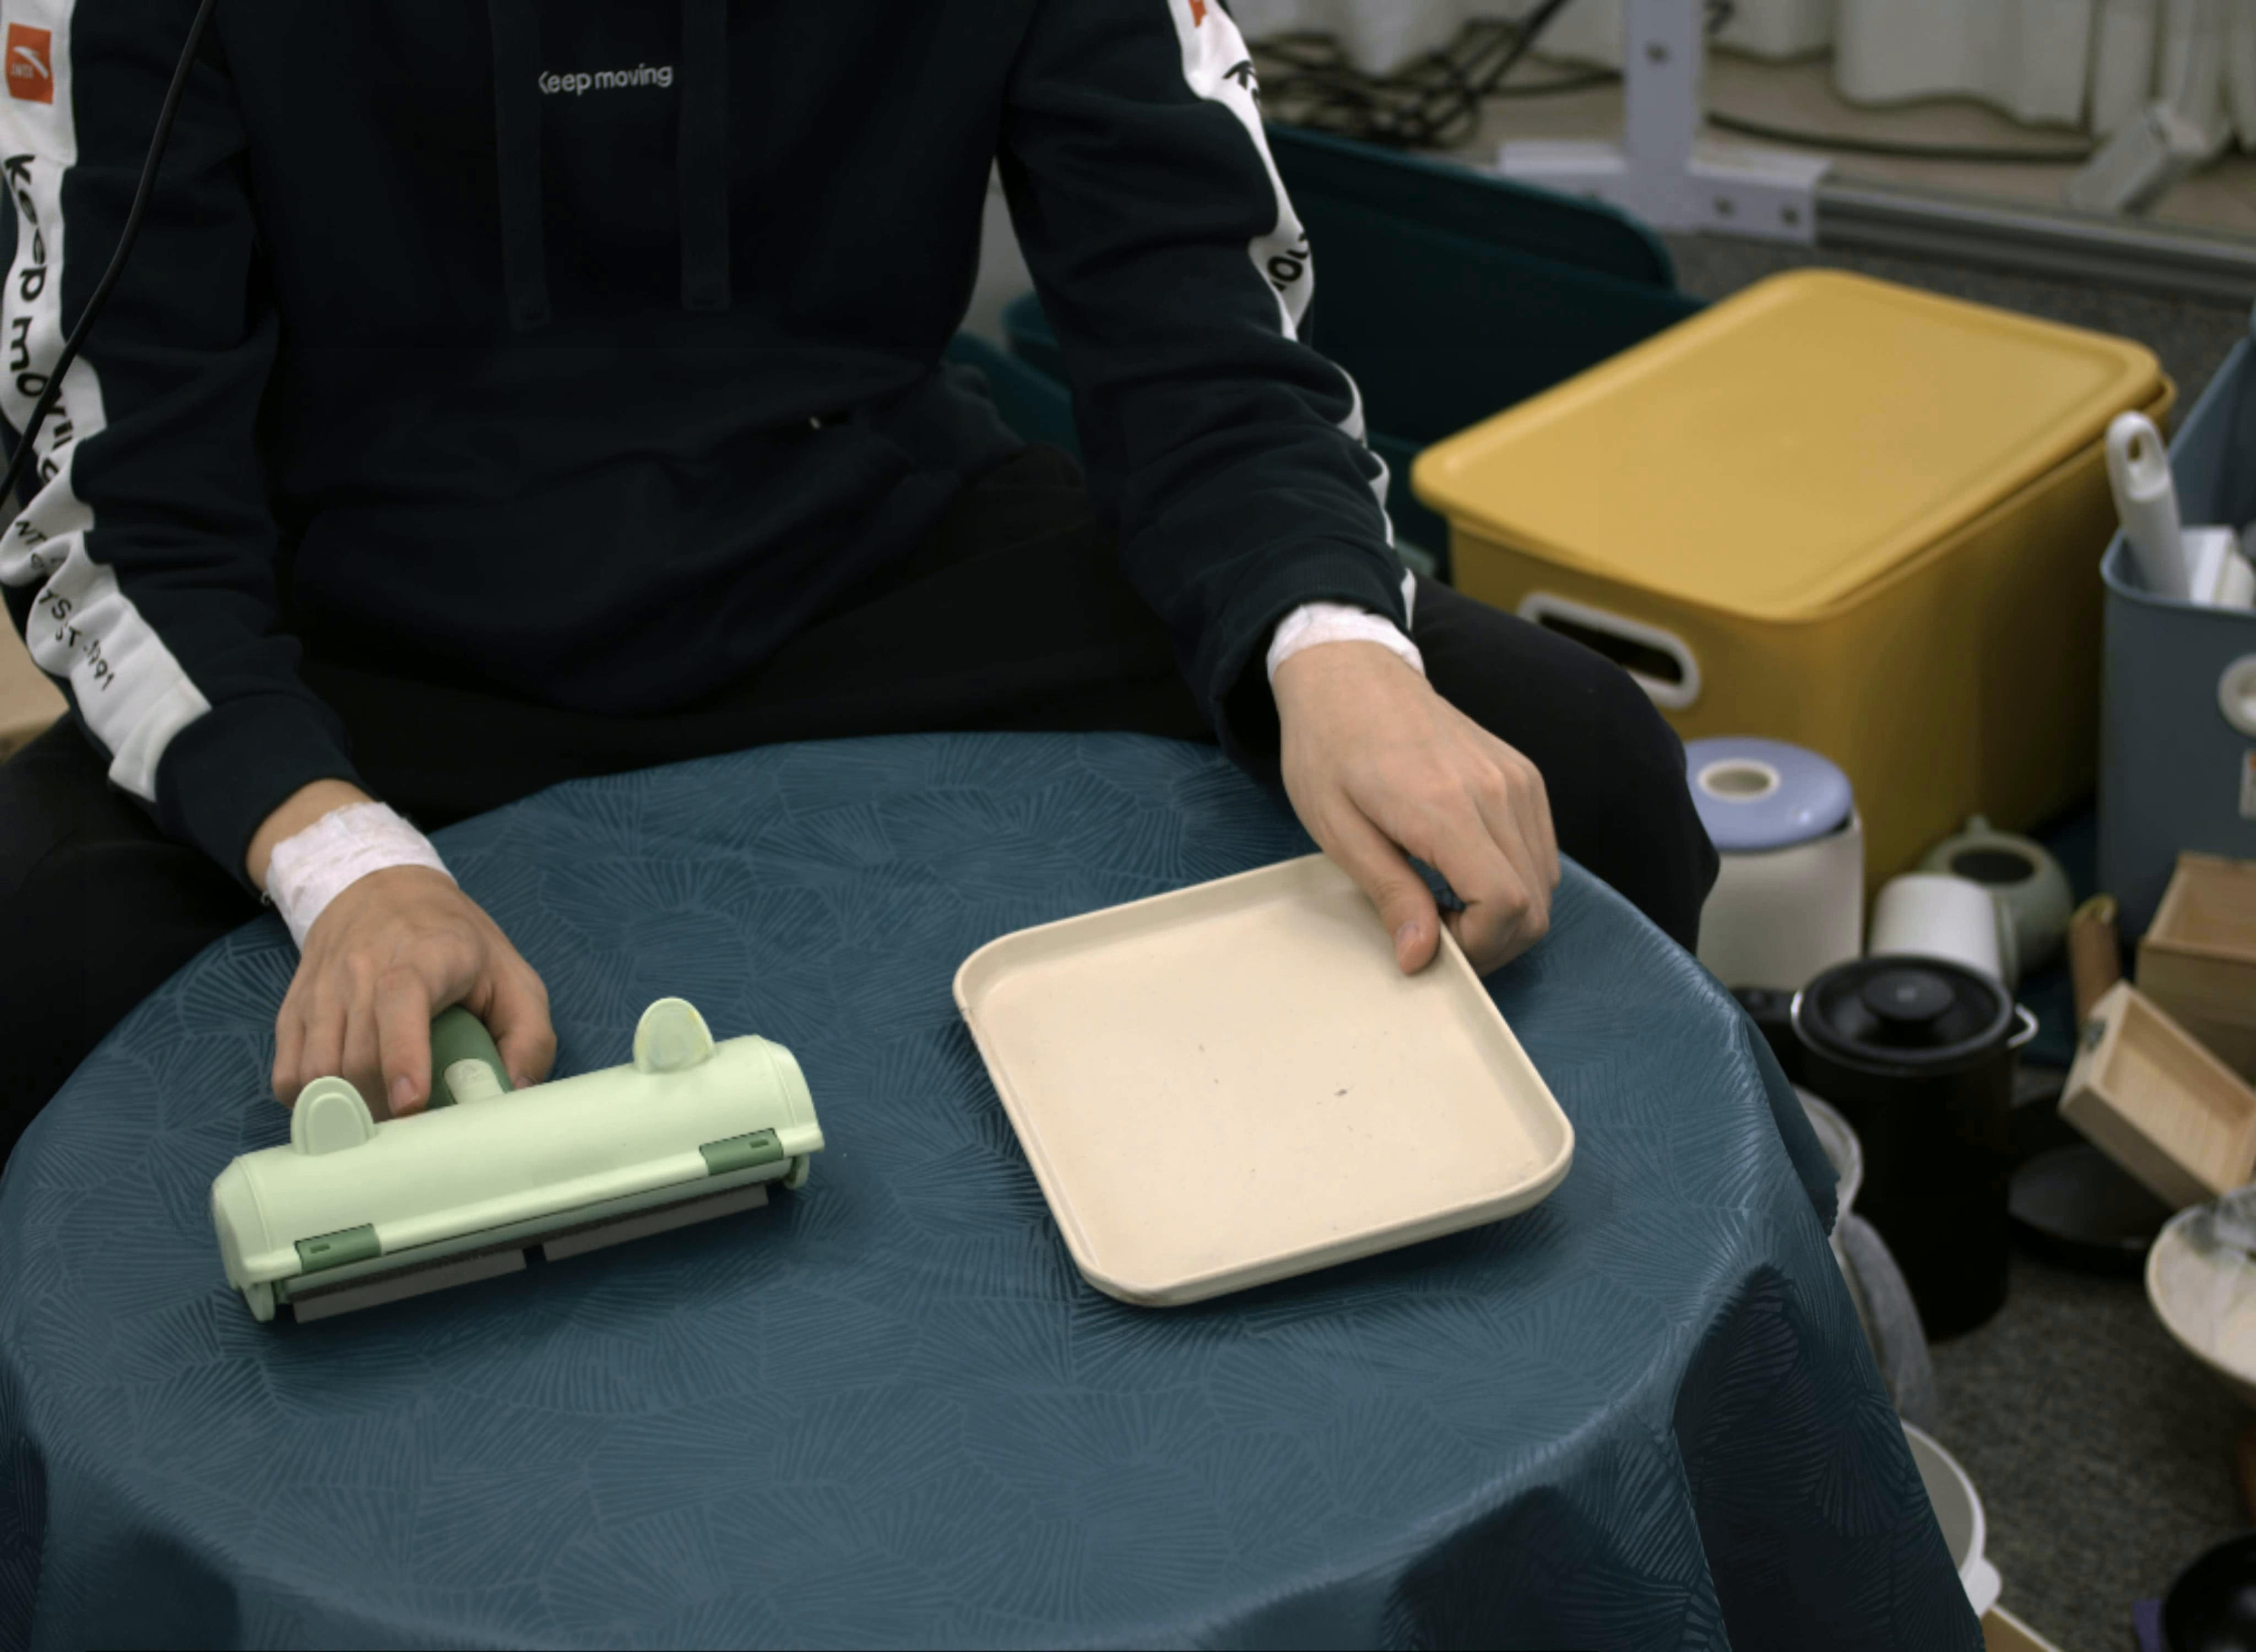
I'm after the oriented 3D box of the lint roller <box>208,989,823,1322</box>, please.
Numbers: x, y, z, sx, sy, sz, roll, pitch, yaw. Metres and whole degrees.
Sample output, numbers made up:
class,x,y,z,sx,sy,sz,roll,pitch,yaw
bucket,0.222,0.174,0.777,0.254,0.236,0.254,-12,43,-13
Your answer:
class,x,y,z,sx,sy,sz,roll,pitch,yaw
lint roller,-0.220,0.082,1.874,0.199,0.081,0.185,-13,33,-18

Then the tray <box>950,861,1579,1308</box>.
class,x,y,z,sx,sy,sz,roll,pitch,yaw
tray,0.043,0.086,1.893,0.171,0.017,0.242,-13,29,-10
